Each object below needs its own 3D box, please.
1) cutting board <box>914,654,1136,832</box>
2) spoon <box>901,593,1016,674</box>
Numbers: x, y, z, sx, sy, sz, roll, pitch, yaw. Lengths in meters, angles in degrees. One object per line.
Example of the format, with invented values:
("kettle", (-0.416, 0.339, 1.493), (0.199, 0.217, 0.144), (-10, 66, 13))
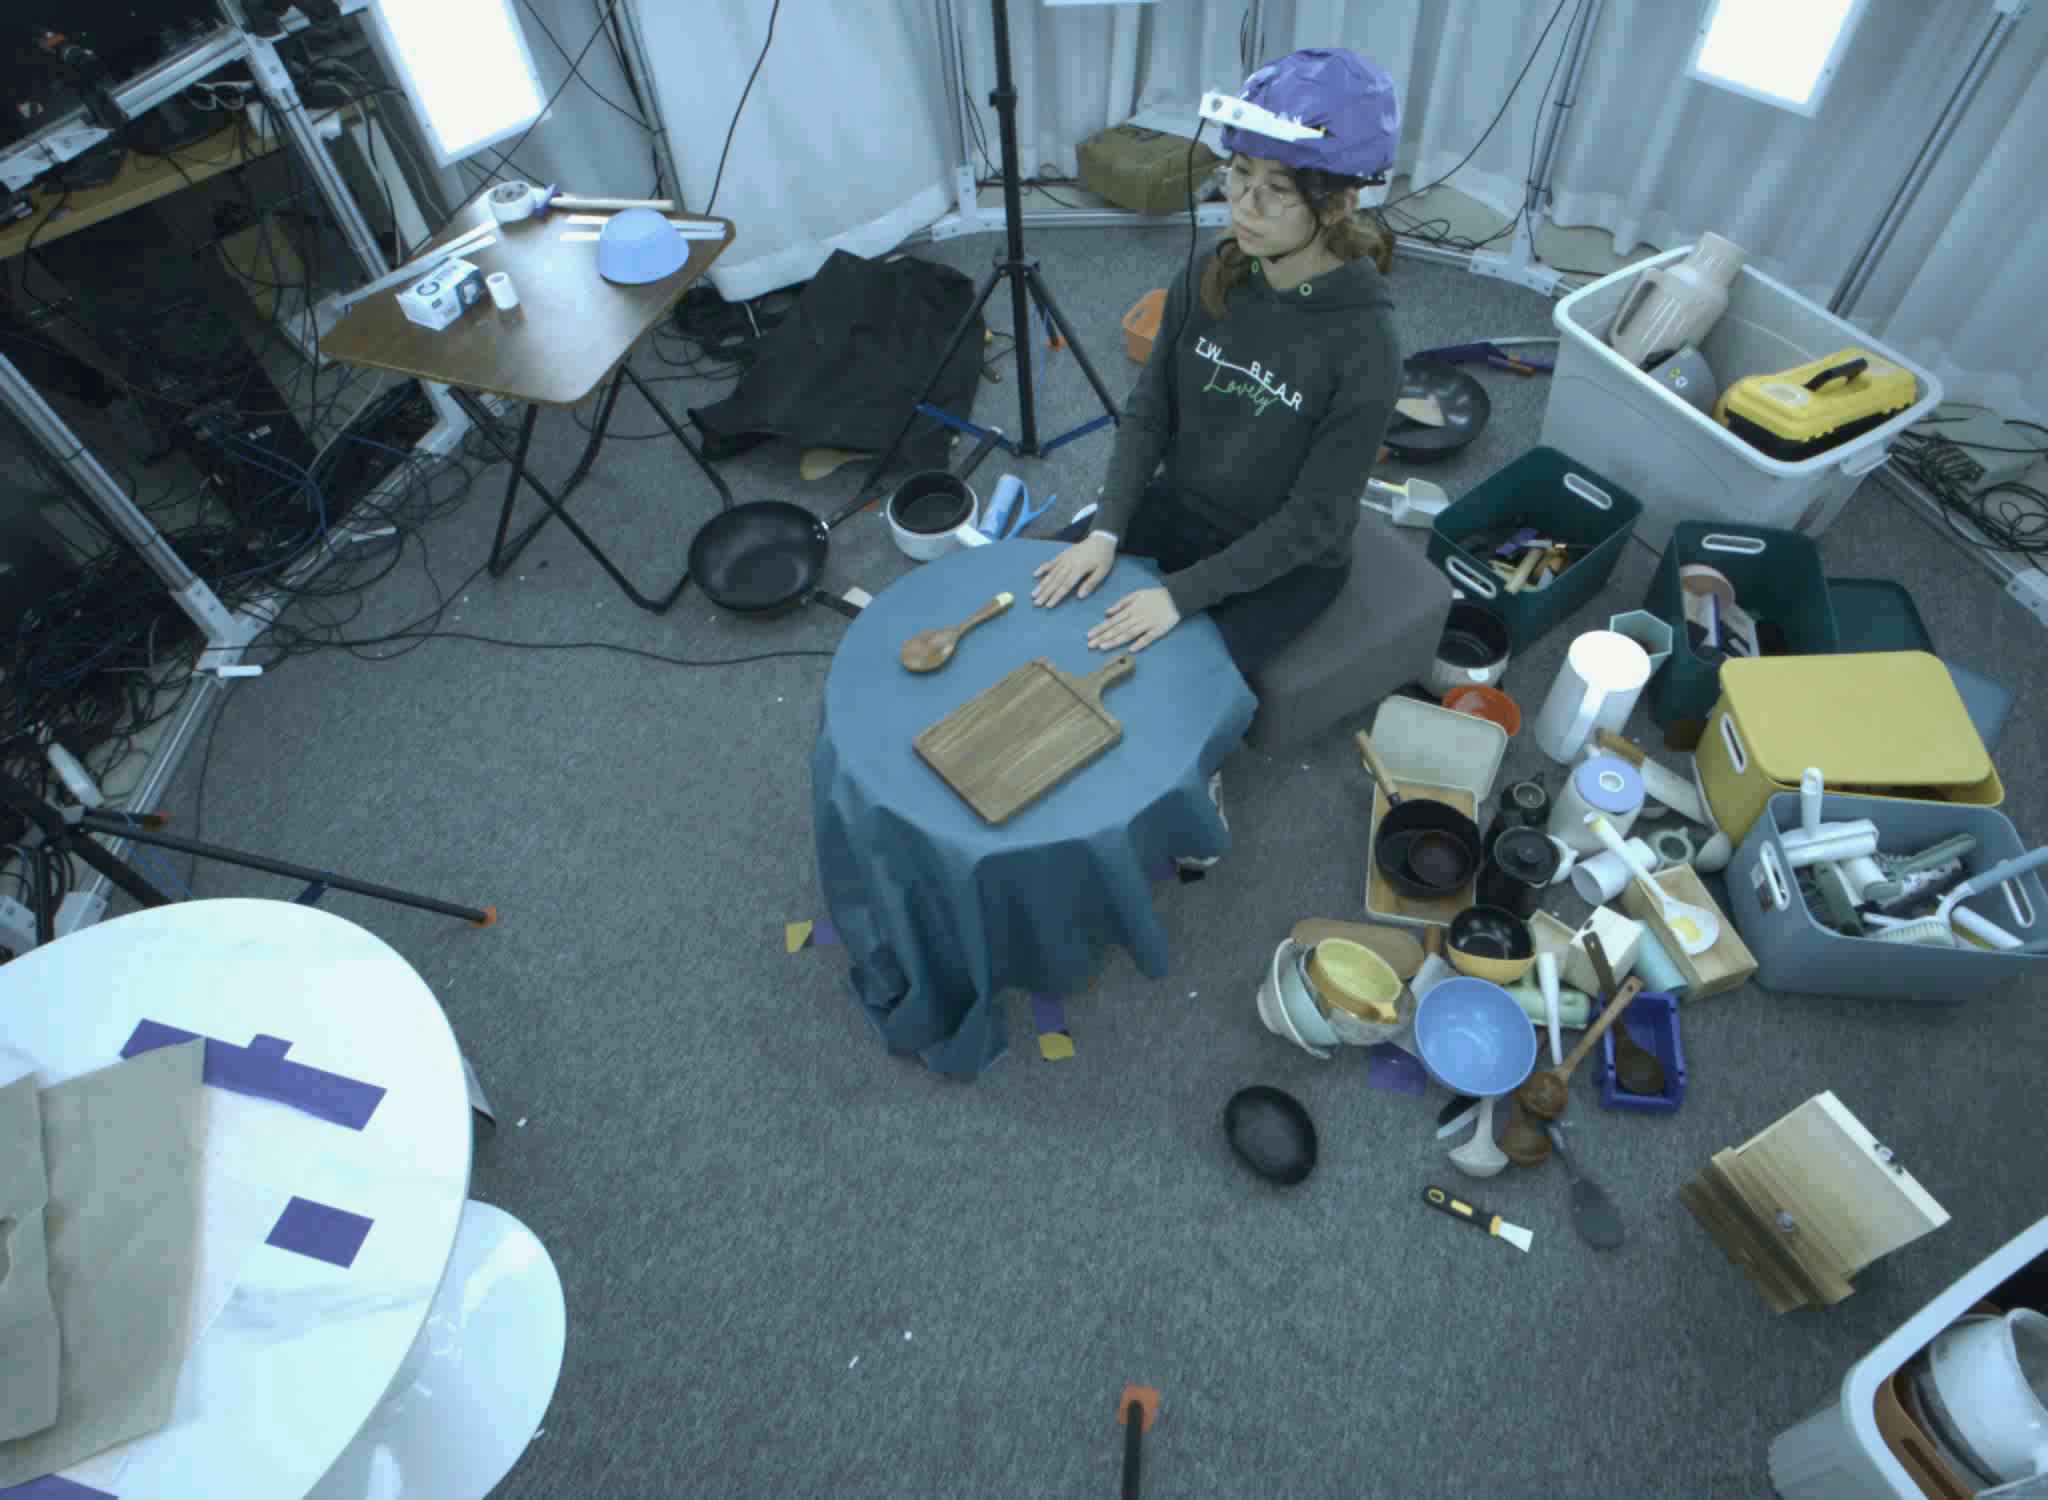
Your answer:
("cutting board", (0.031, -0.039, 1.813), (0.355, 0.023, 0.197), (-35, 60, -21))
("spoon", (-0.099, -0.183, 1.918), (0.217, 0.017, 0.074), (-37, 60, -21))
